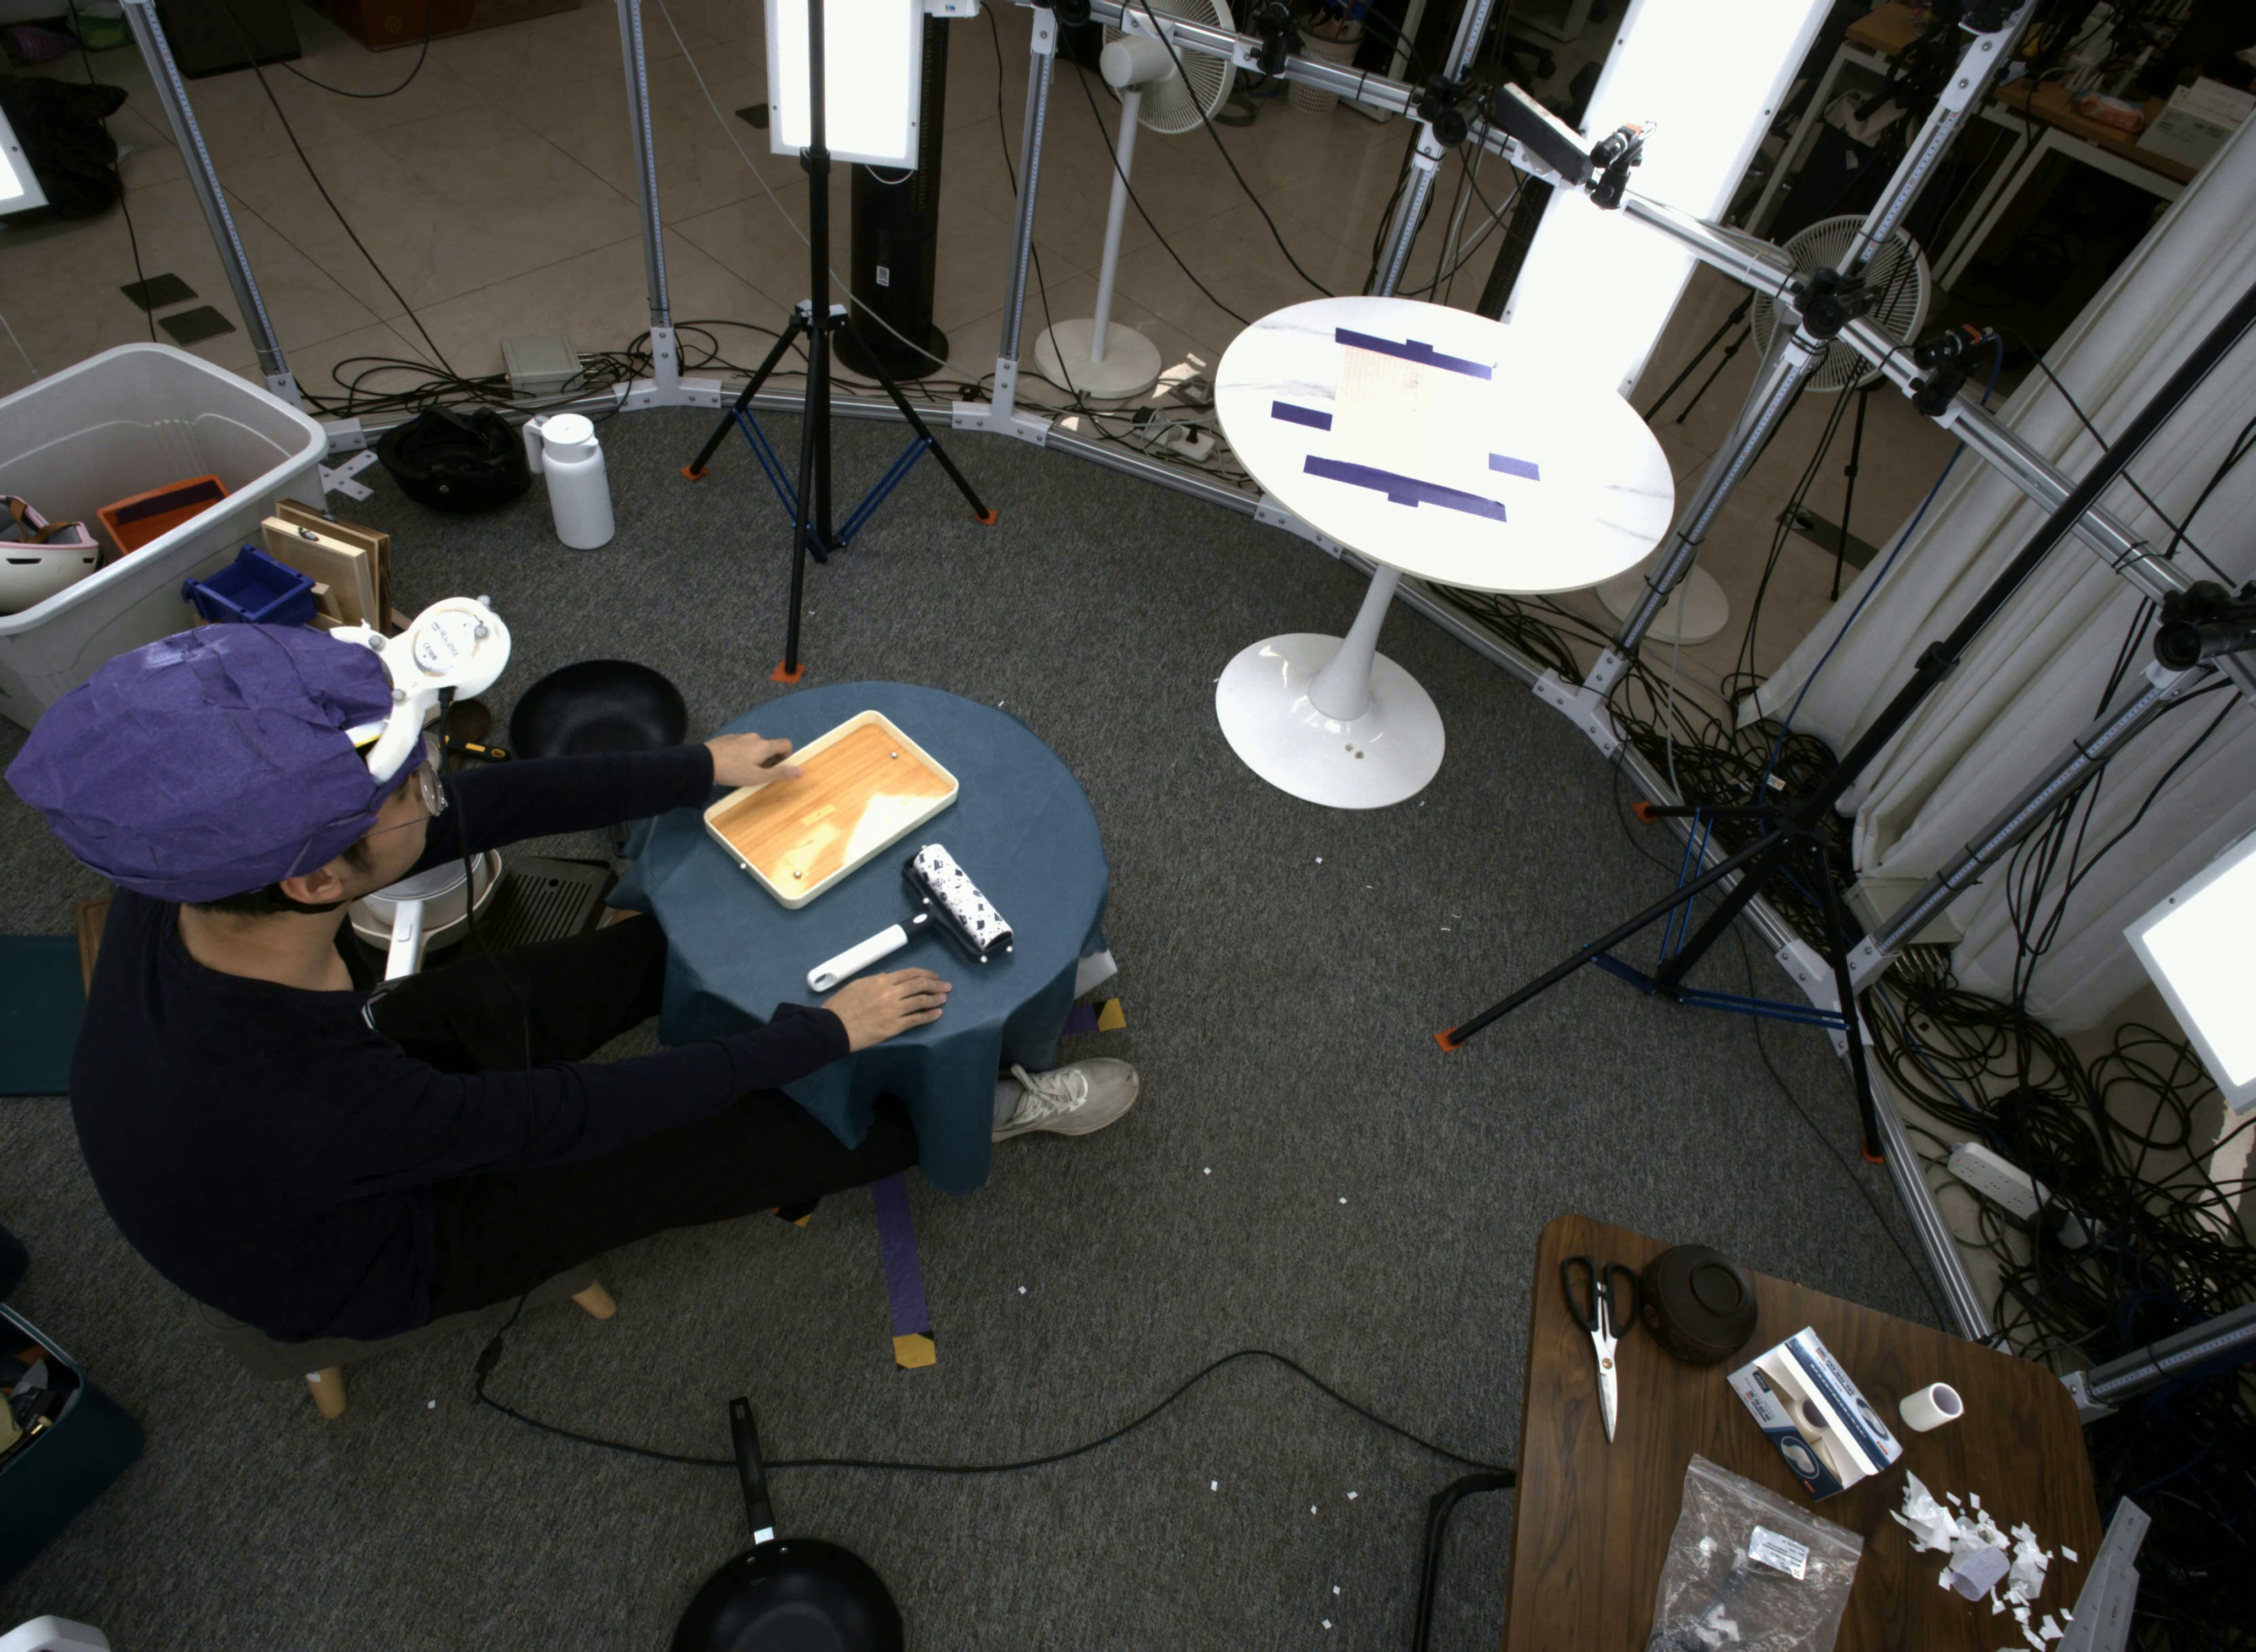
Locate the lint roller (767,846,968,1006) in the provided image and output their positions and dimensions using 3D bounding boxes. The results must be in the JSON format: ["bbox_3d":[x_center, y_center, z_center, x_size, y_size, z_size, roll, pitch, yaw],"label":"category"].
[{"bbox_3d":[-0.342,0.143,1.623,0.247,0.051,0.172,-34,69,-30],"label":"lint roller"}]

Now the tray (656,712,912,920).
[{"bbox_3d":[-0.454,-0.021,1.725,0.188,0.028,0.300,40,54,13],"label":"tray"}]
